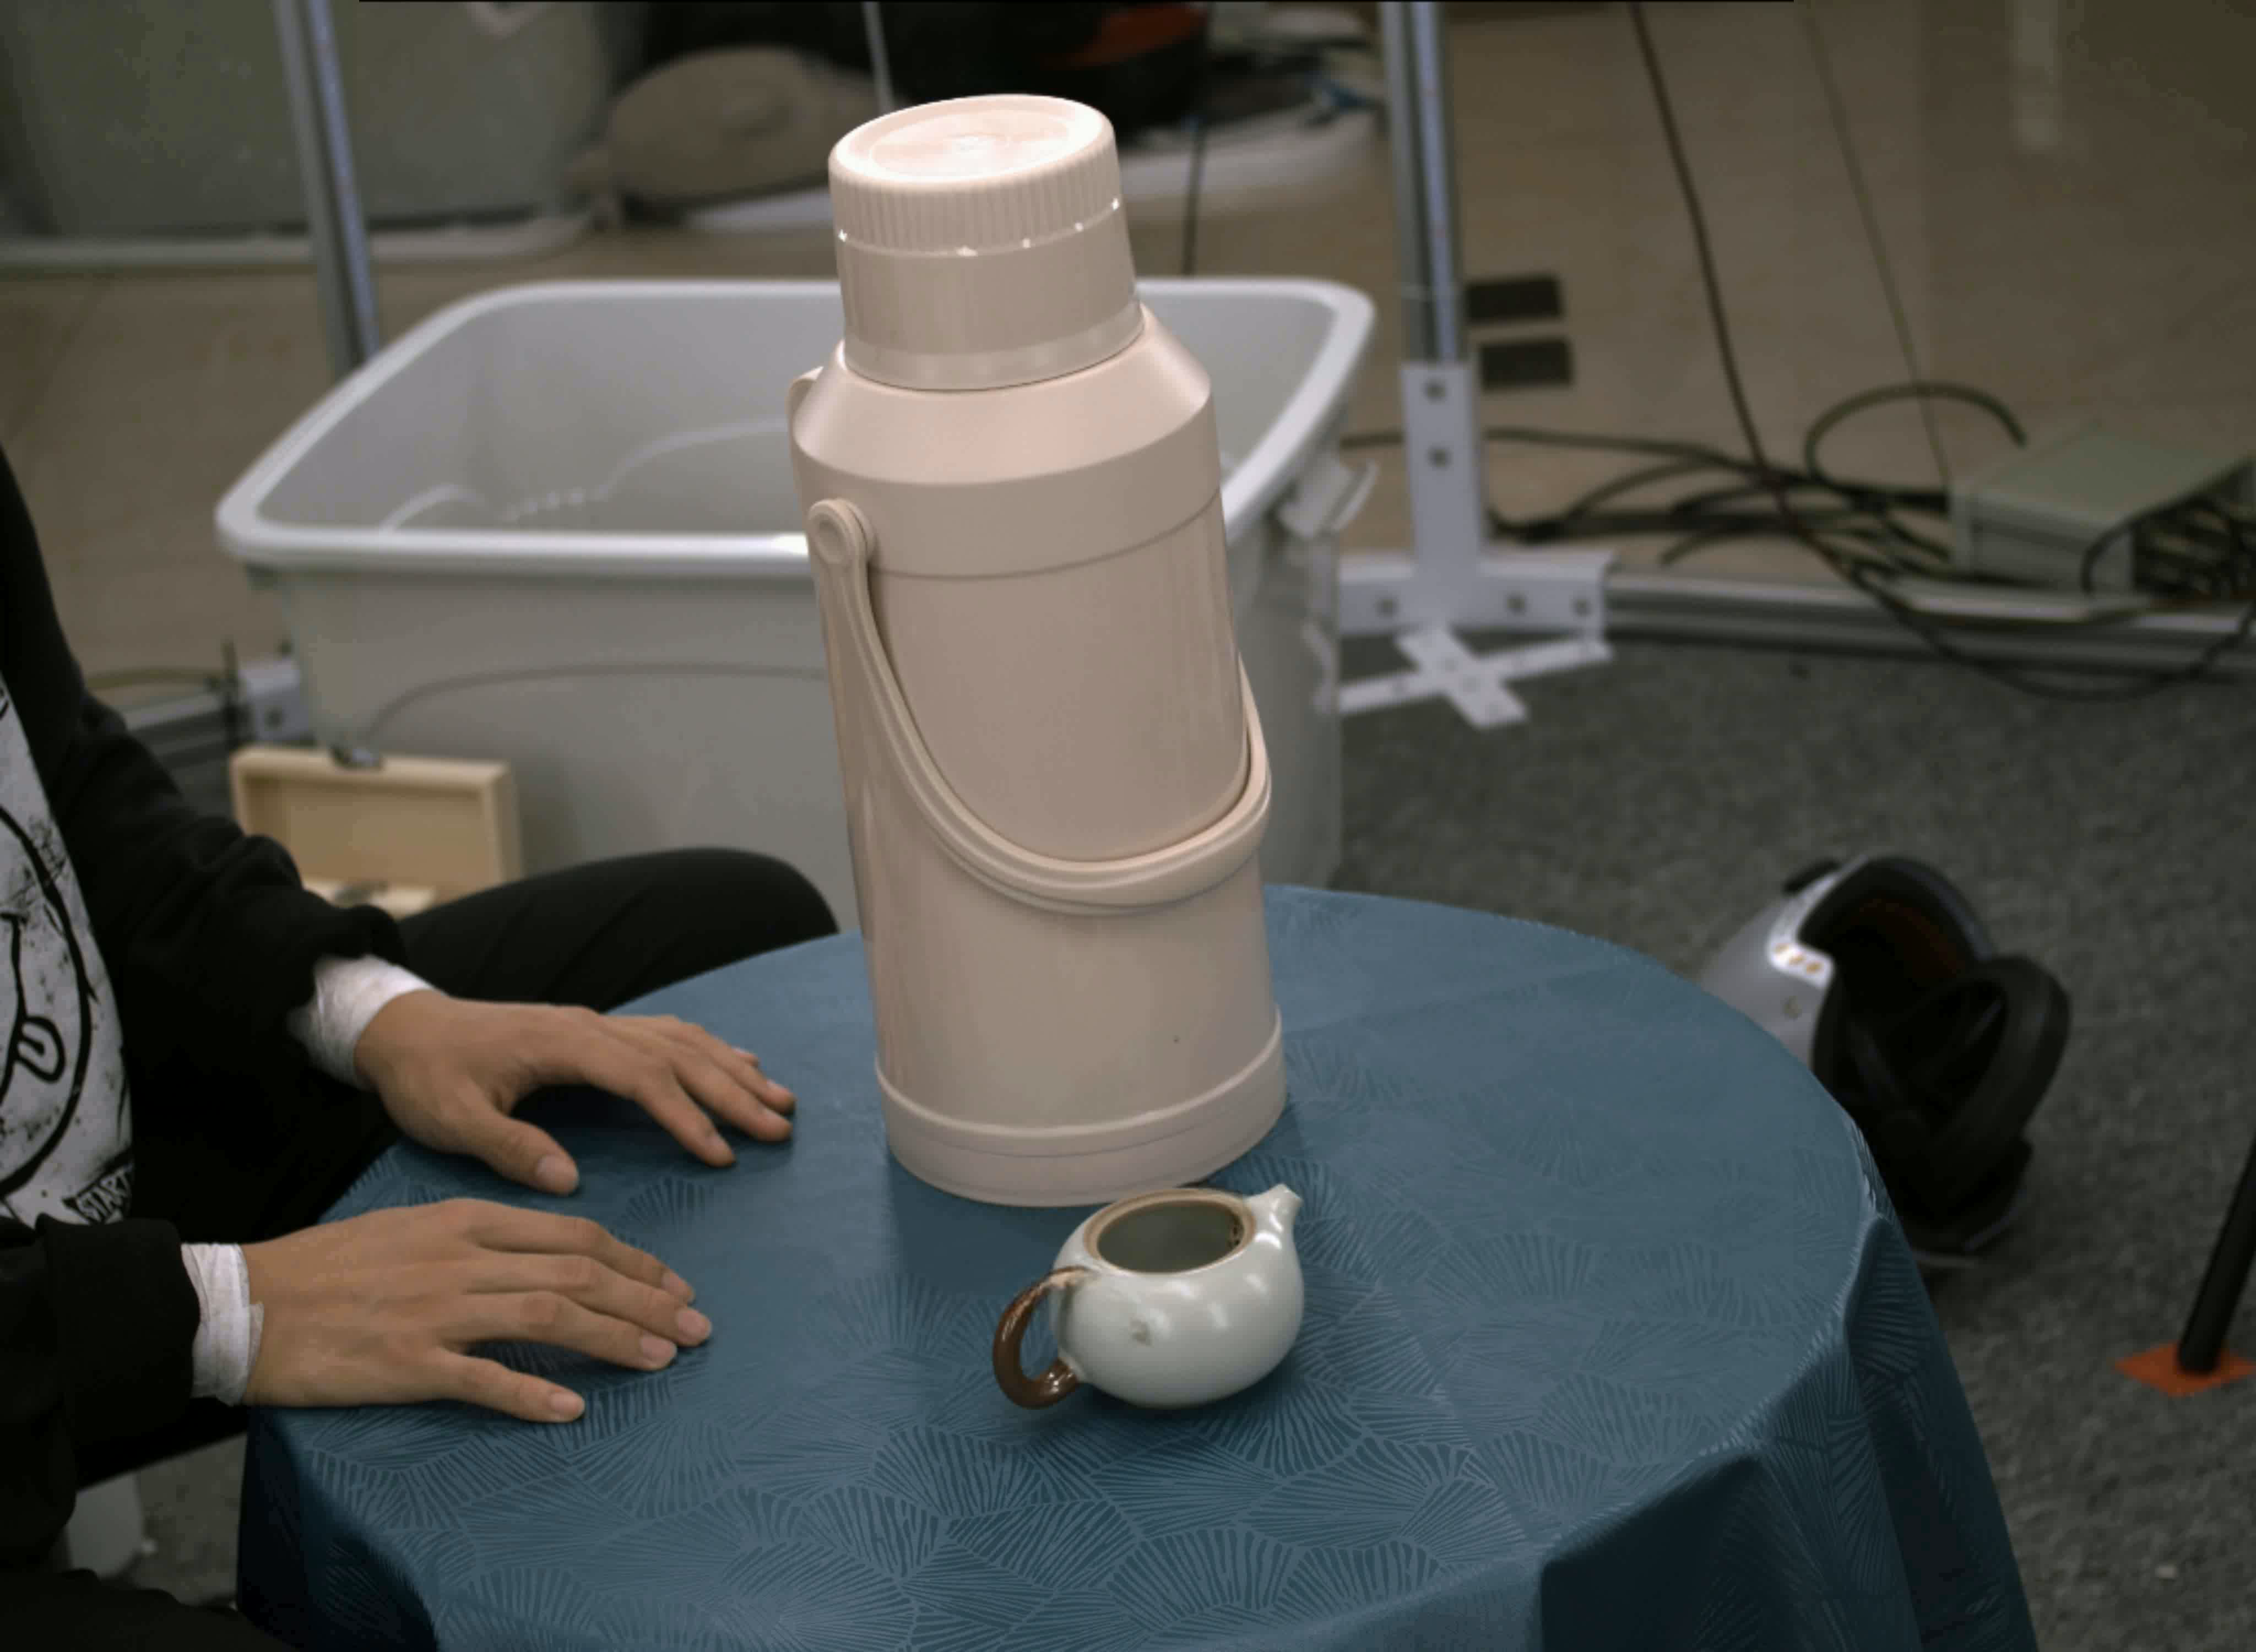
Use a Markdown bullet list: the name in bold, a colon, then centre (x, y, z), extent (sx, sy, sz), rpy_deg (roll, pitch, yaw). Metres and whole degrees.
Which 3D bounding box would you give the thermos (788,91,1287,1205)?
- **thermos**: centre (-0.045, -0.072, 2.136), extent (0.174, 0.413, 0.205), rpy_deg (-29, 34, -35)

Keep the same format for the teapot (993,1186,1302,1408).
- **teapot**: centre (0.008, 0.171, 2.010), extent (0.127, 0.060, 0.091), rpy_deg (-18, 31, -27)
